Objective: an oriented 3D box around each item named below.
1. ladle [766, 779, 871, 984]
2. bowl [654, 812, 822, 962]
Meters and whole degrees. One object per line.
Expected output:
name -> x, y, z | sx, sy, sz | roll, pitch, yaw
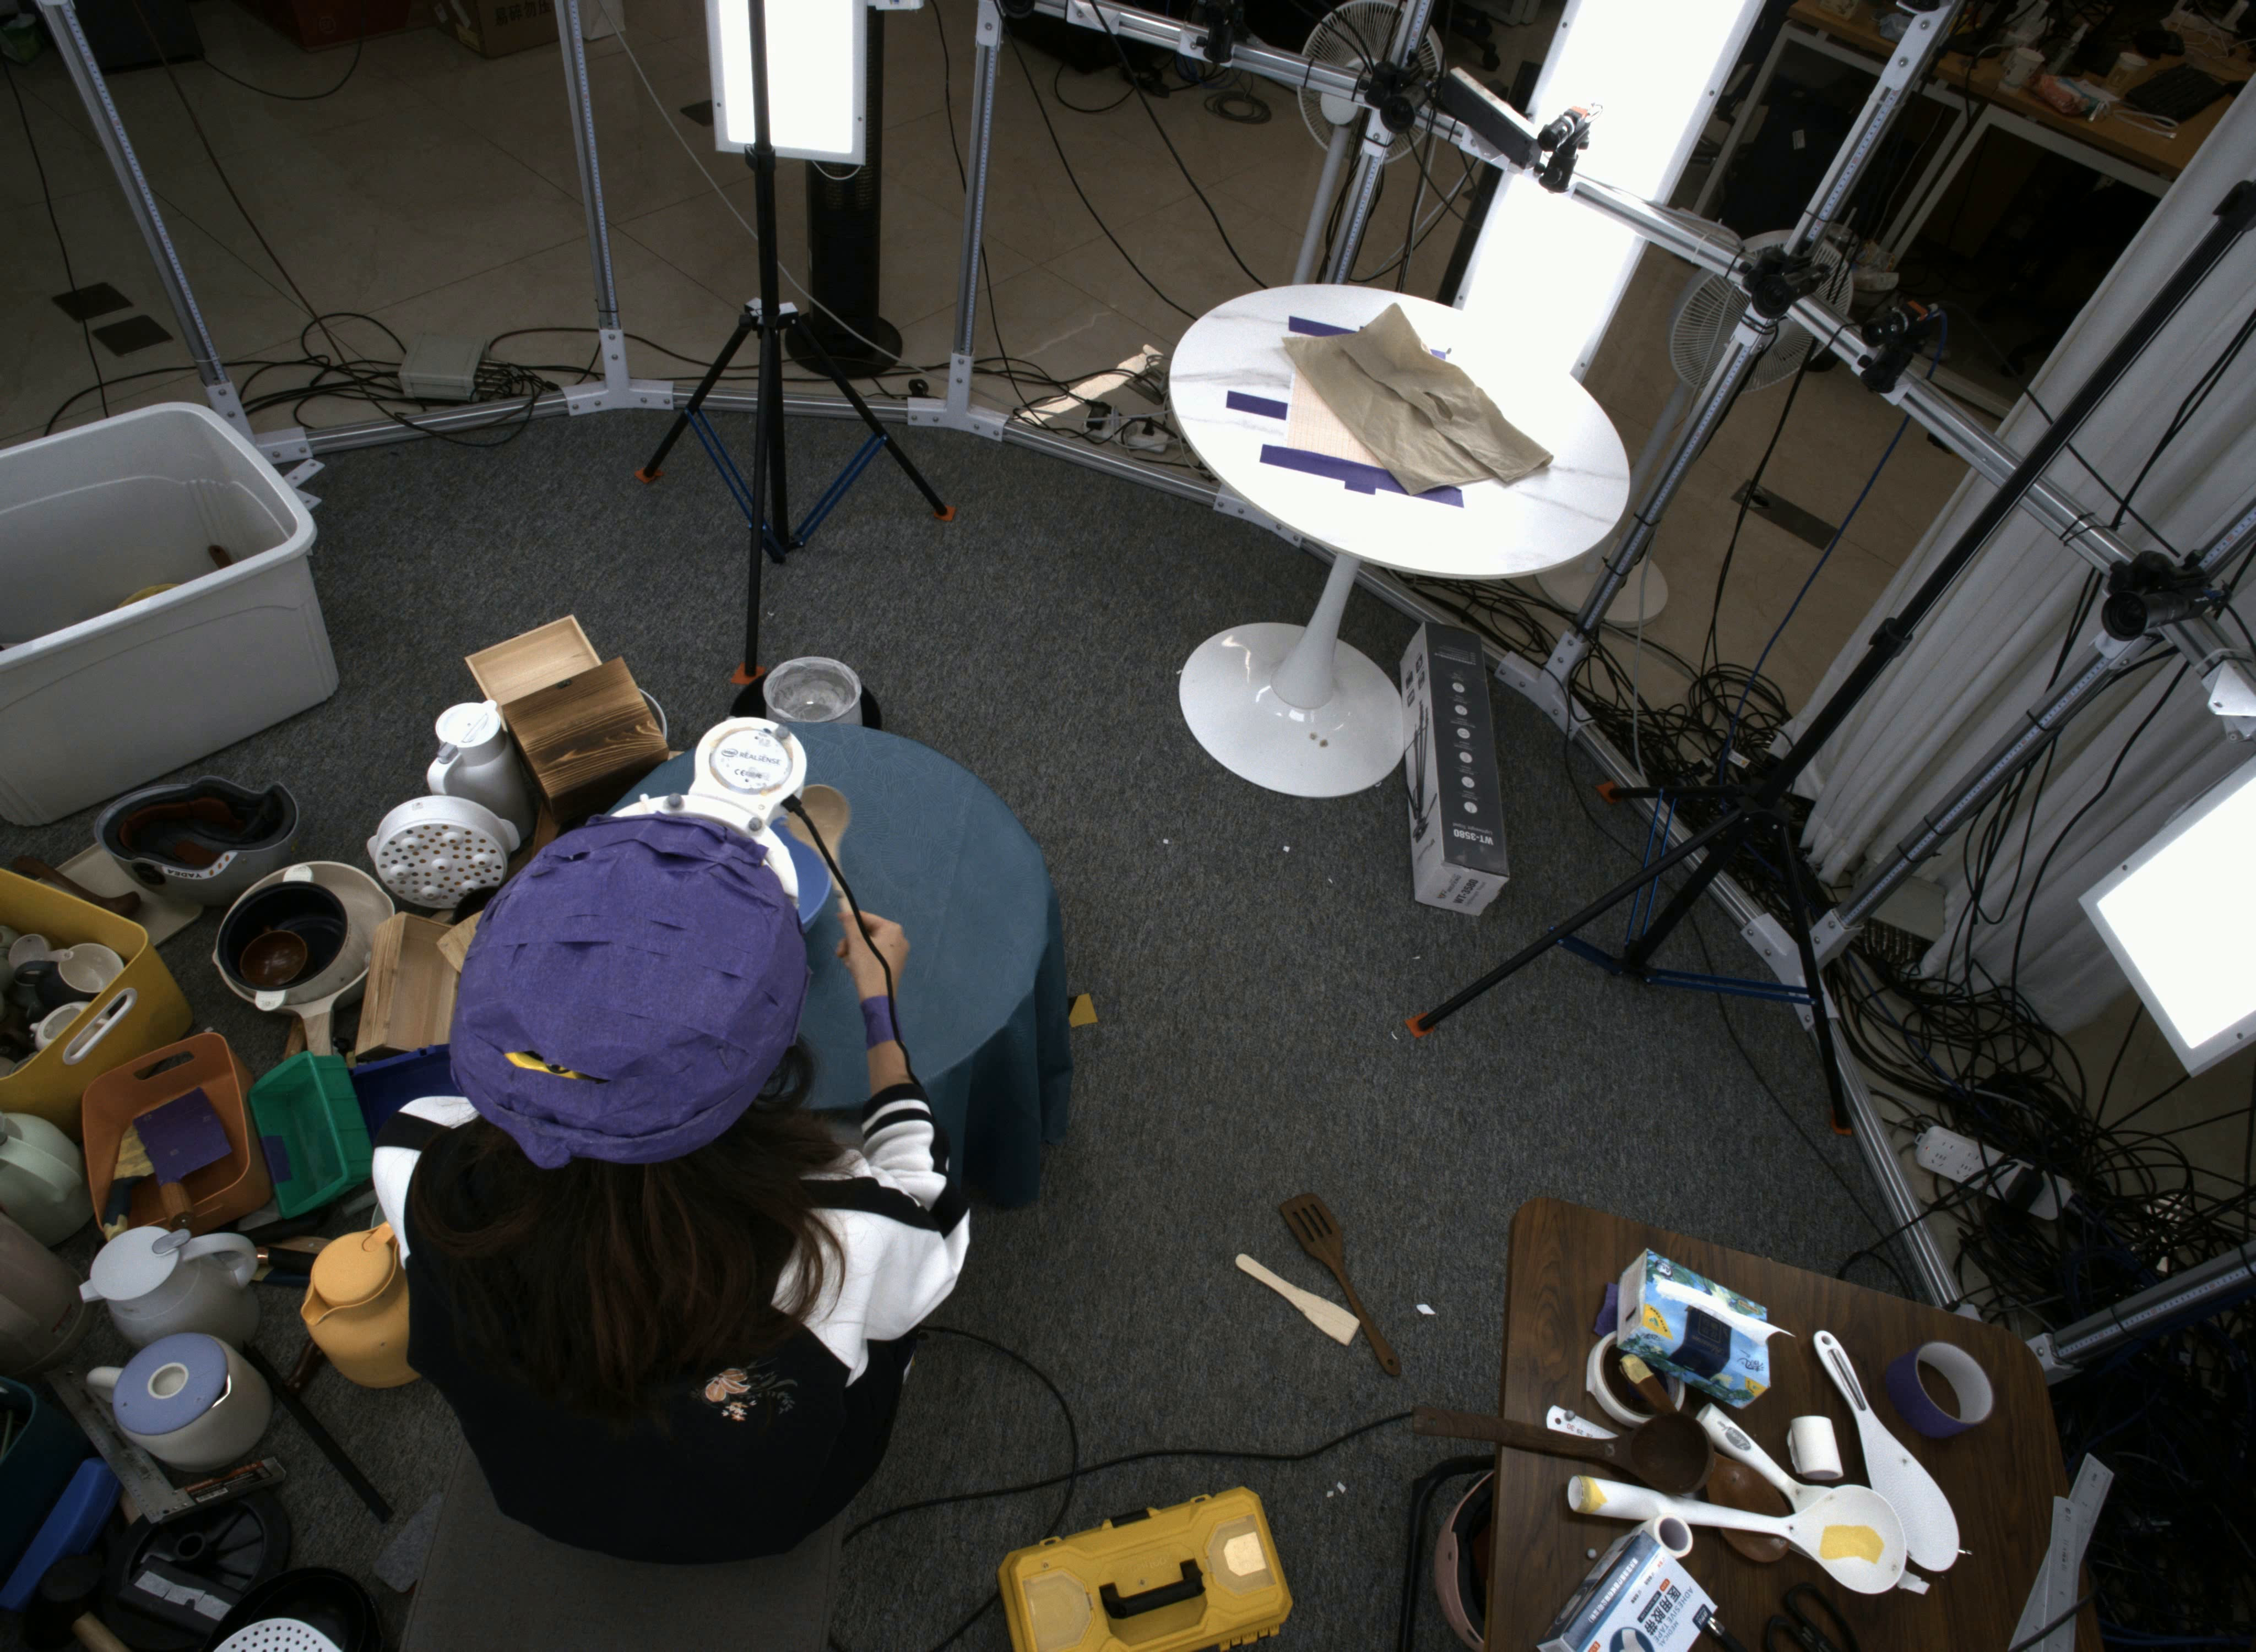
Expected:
ladle -> -0.336, 0.054, 1.438 | 0.072, 0.074, 0.247 | -19, 57, -20
bowl -> -0.474, 0.088, 1.583 | 0.196, 0.097, 0.193 | 9, 52, -10
